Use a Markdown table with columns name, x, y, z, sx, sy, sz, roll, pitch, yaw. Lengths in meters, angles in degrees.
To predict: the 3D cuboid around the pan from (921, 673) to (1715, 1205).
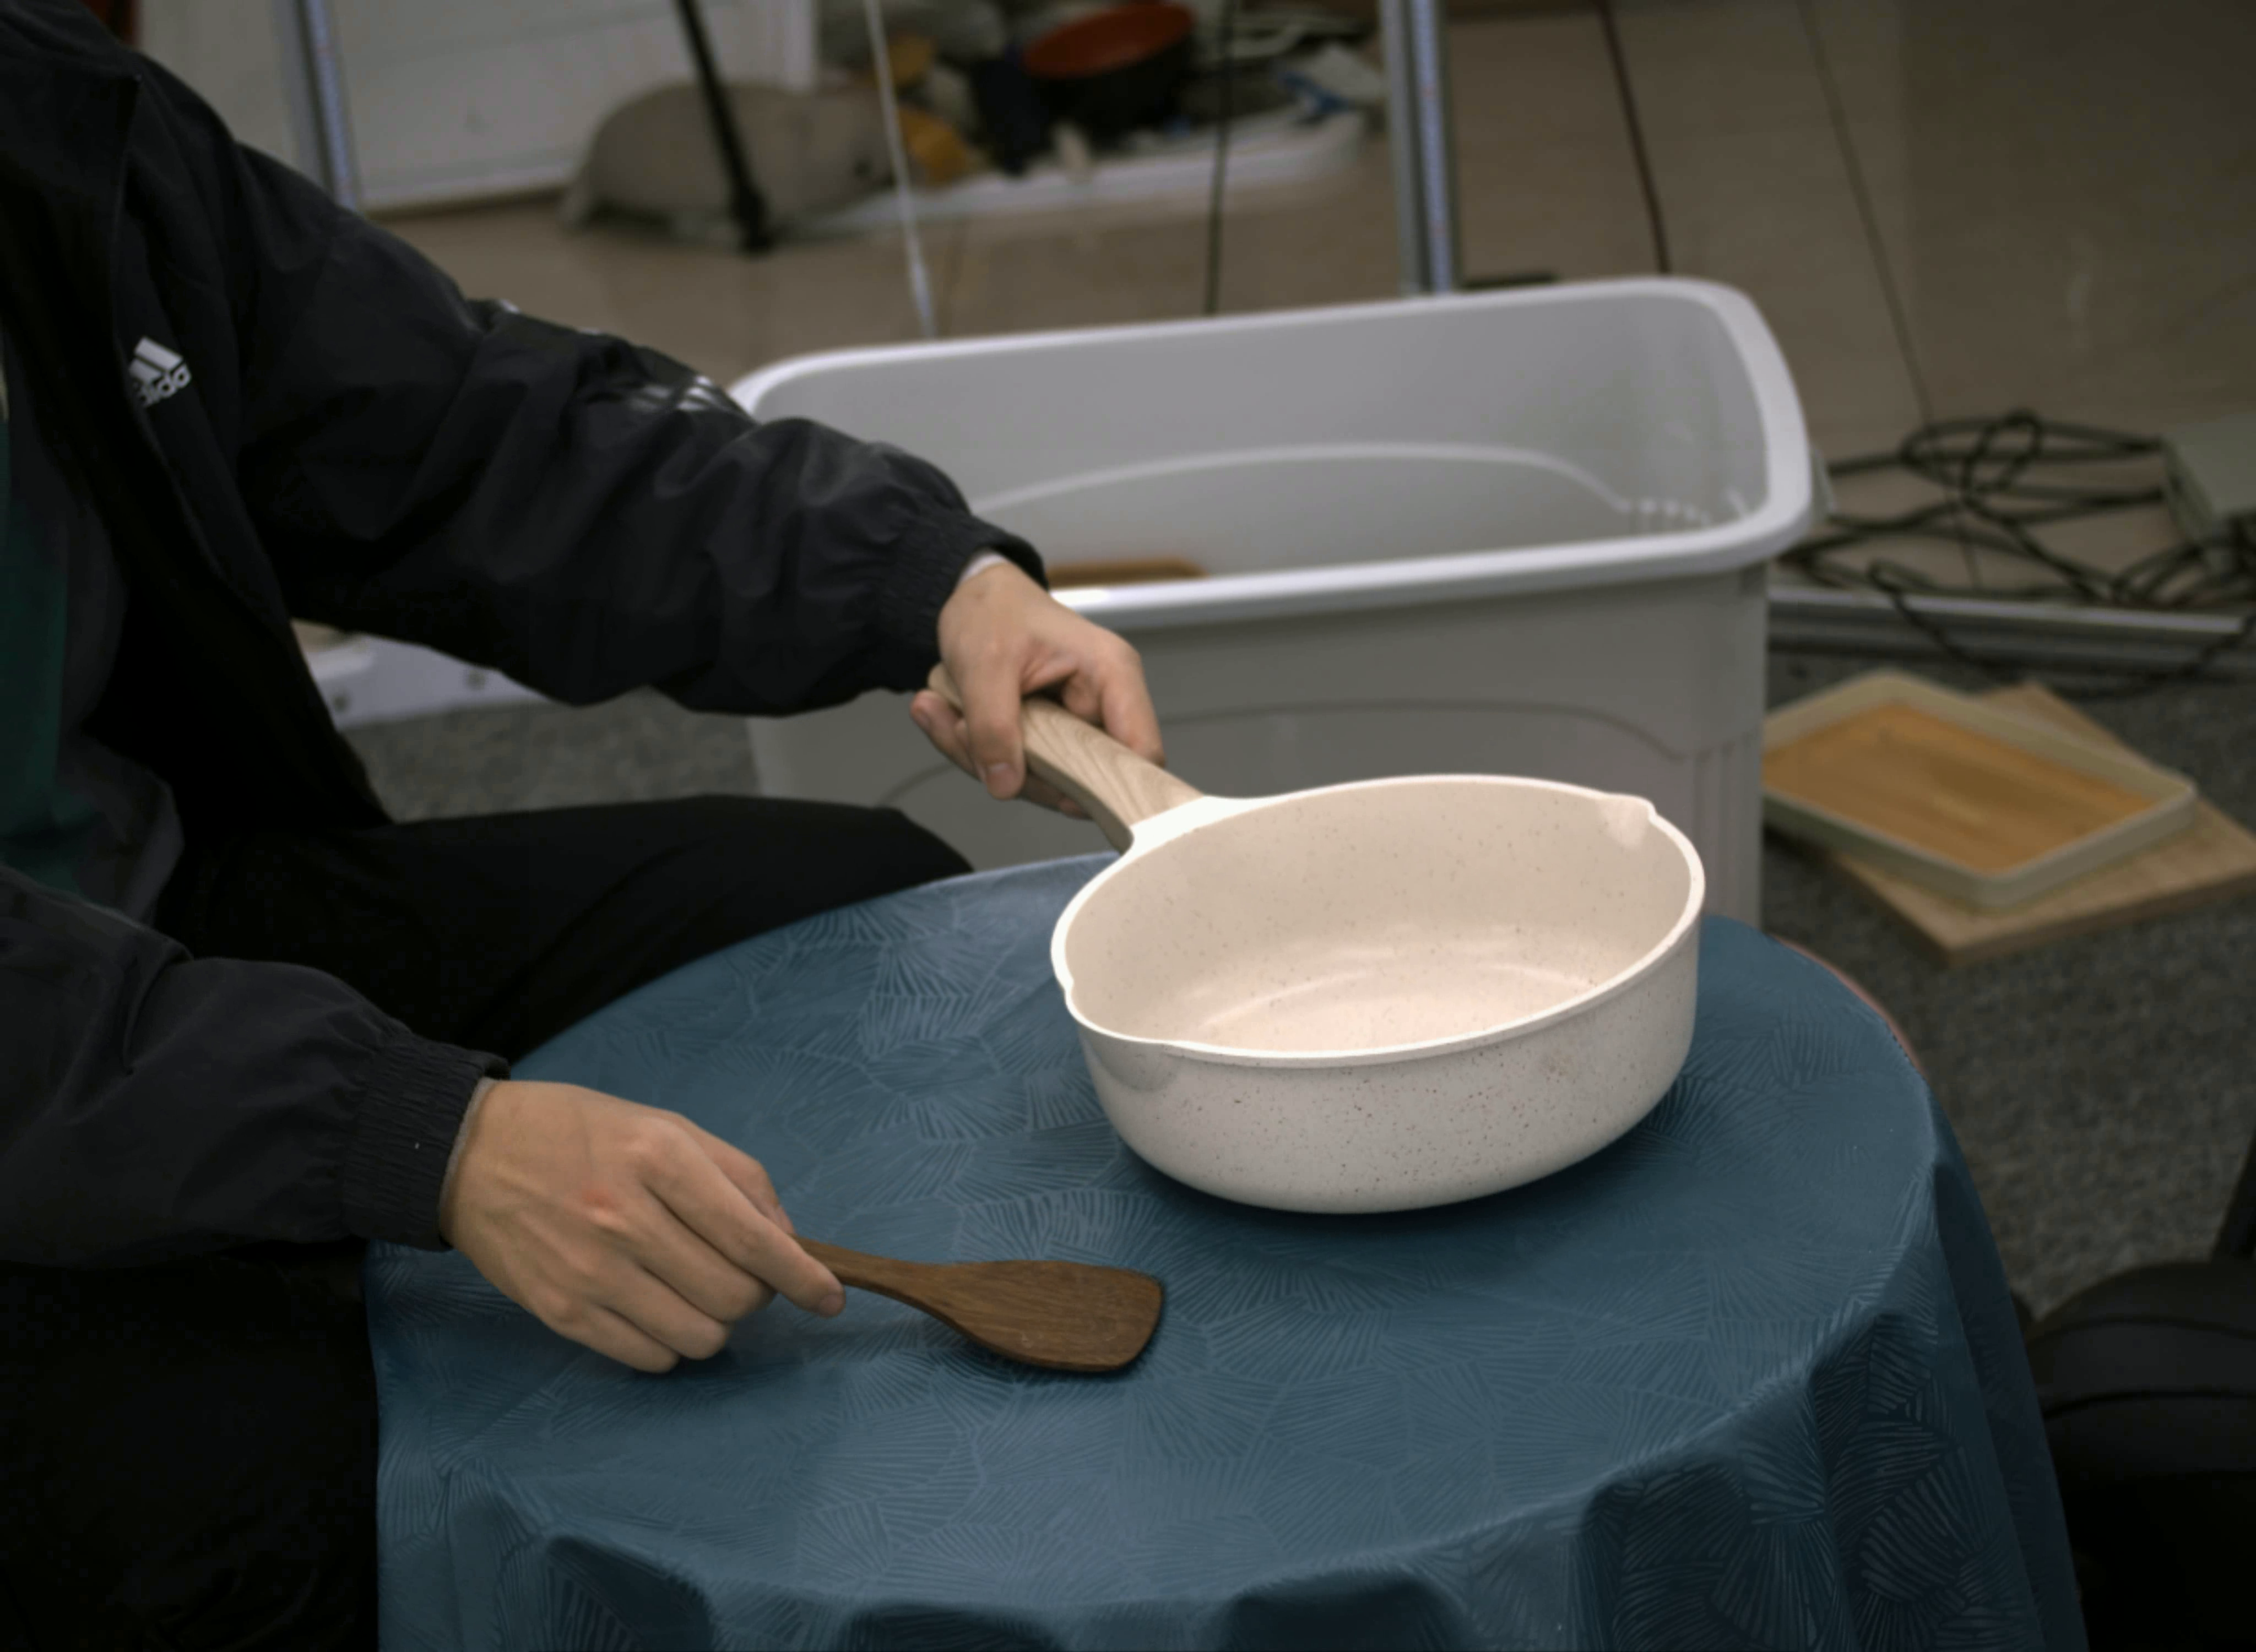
| name | x | y | z | sx | sy | sz | roll | pitch | yaw |
| --- | --- | --- | --- | --- | --- | --- | --- | --- | --- |
| pan | 0.052 | 0.035 | 2.240 | 0.261 | 0.103 | 0.431 | -24 | 27 | -27 |

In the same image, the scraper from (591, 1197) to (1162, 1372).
| name | x | y | z | sx | sy | sz | roll | pitch | yaw |
| --- | --- | --- | --- | --- | --- | --- | --- | --- | --- |
| scraper | -0.093 | 0.162 | 2.065 | 0.211 | 0.011 | 0.075 | 11 | 26 | 7 |
